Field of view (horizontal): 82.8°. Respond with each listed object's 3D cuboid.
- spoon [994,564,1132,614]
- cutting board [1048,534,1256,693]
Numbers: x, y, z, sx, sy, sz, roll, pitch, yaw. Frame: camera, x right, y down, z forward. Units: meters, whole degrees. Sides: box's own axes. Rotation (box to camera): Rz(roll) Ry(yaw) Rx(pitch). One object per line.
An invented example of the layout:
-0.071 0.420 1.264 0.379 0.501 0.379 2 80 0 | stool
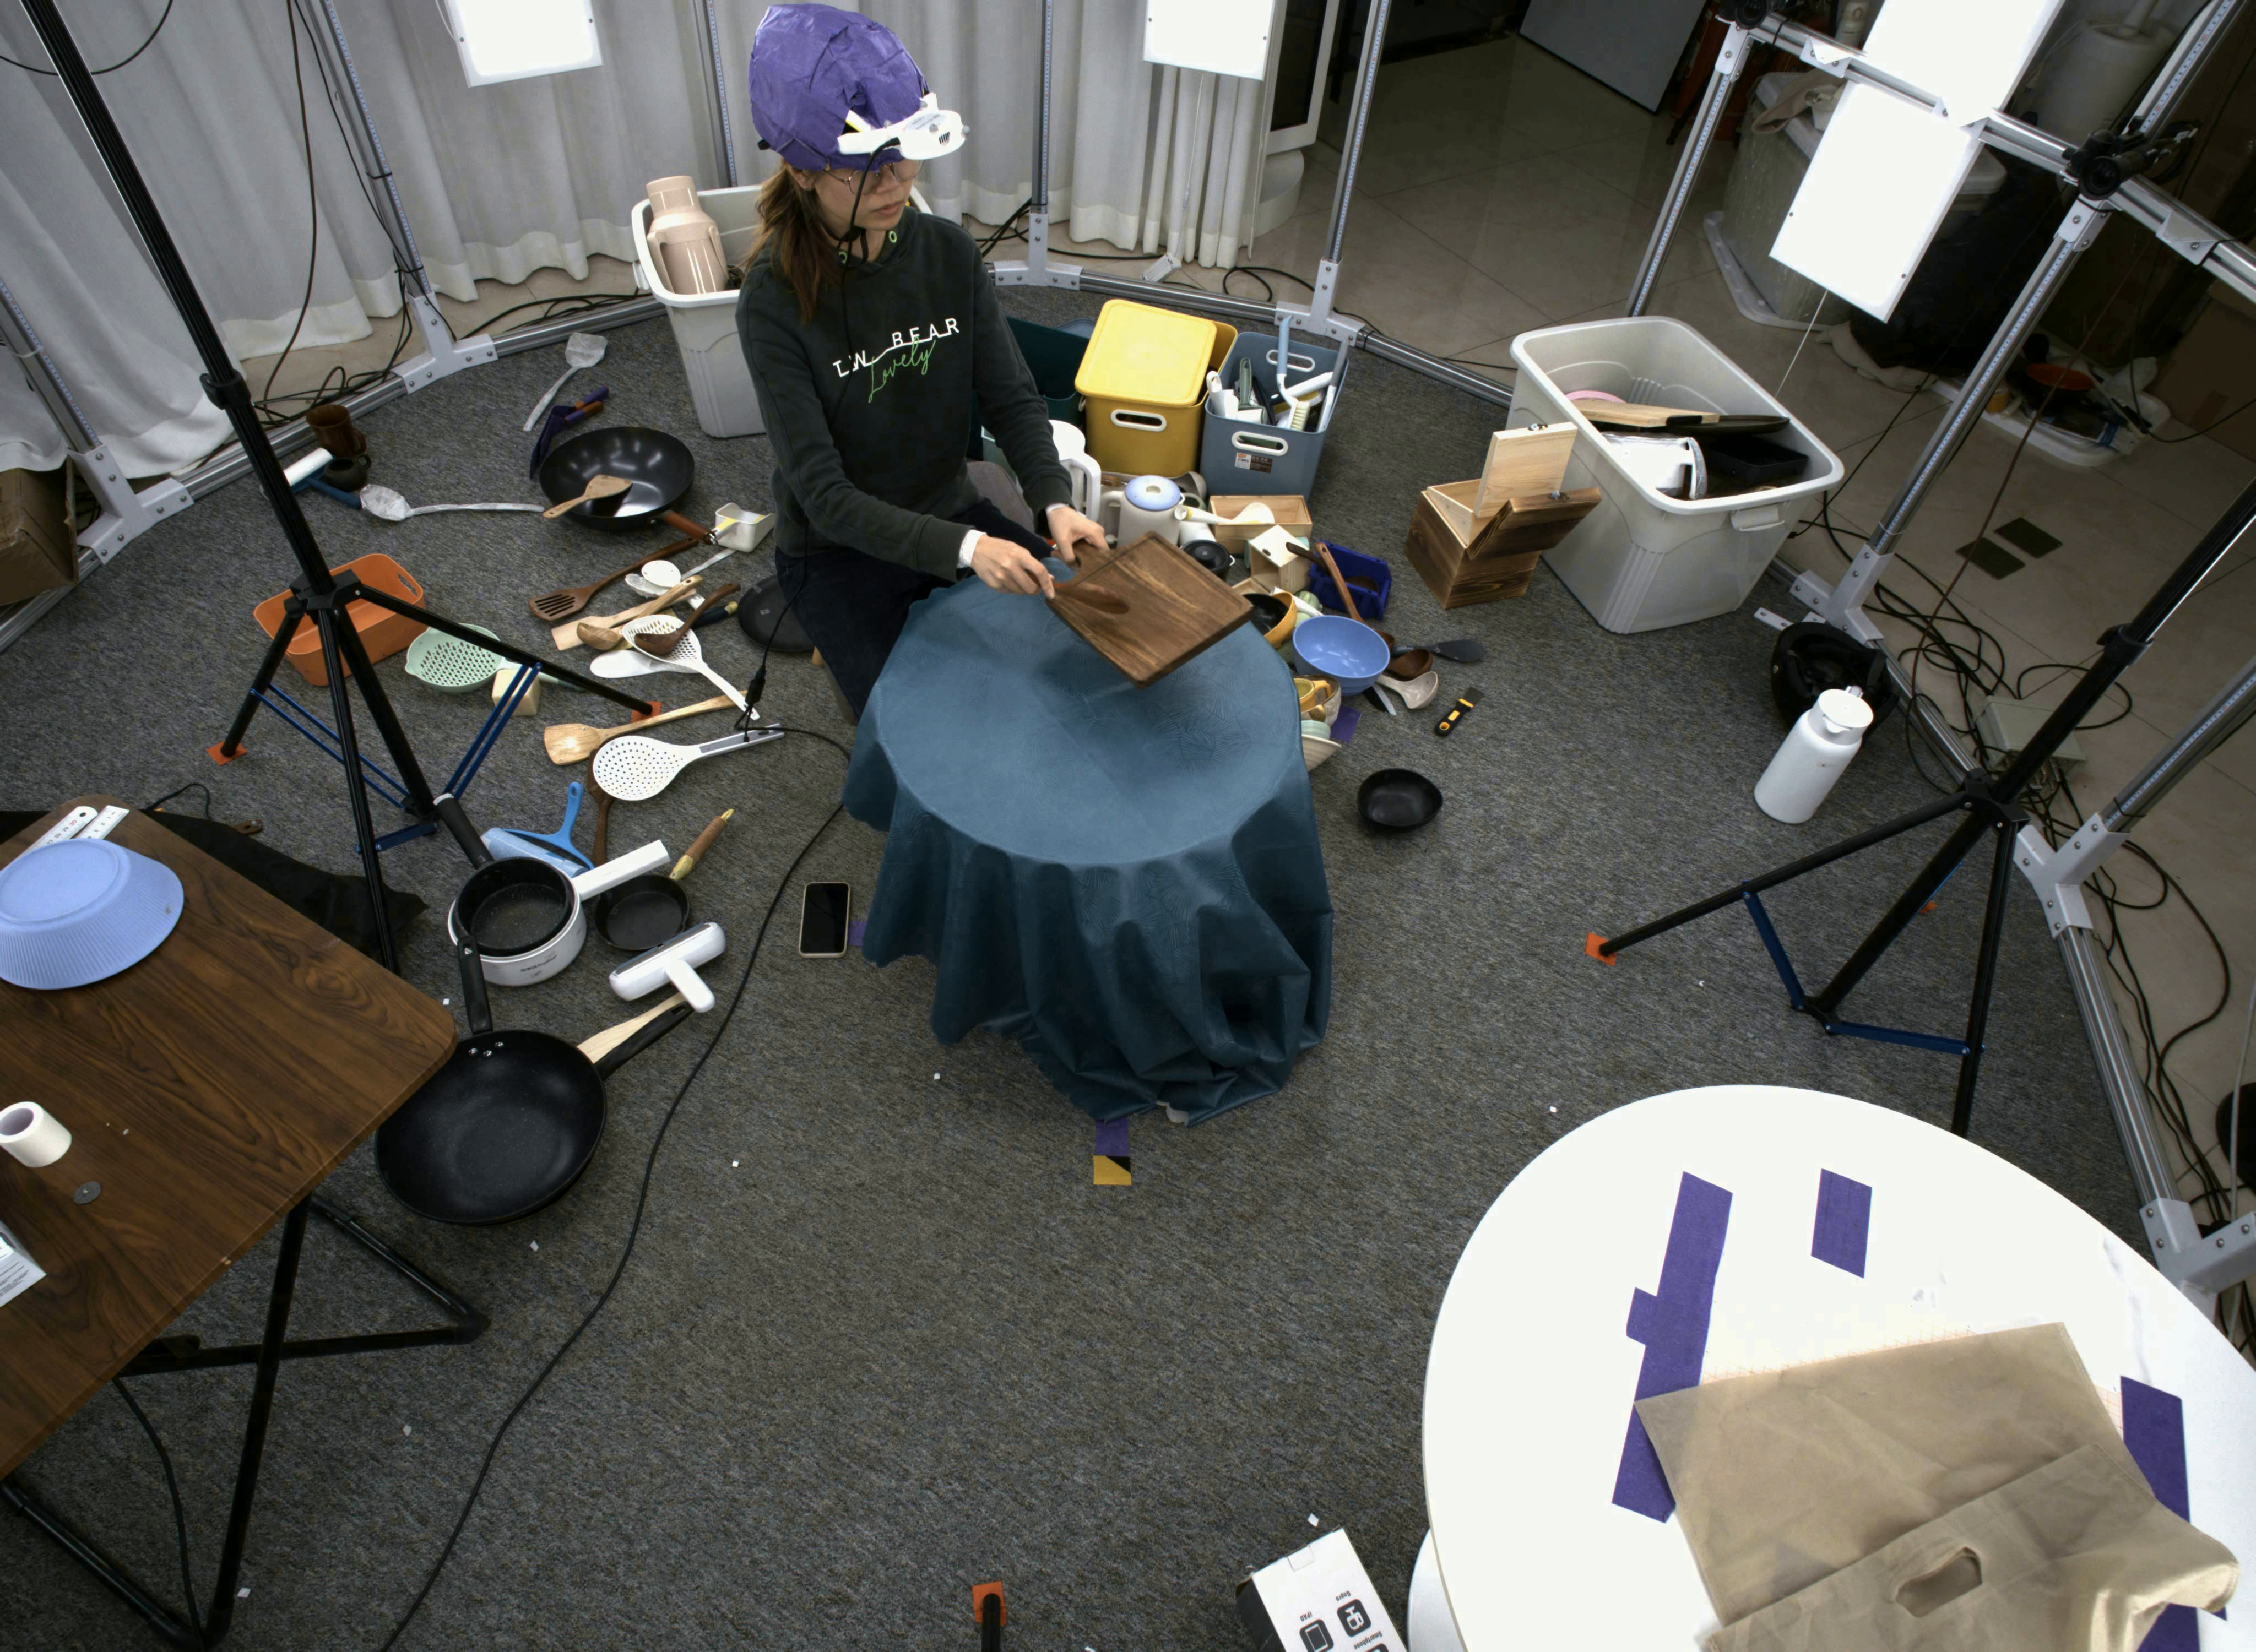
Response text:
-0.092 -0.324 1.764 0.218 0.074 0.017 20 87 24 | spoon
0.003 -0.330 1.825 0.202 0.022 0.359 -35 48 -11 | cutting board
